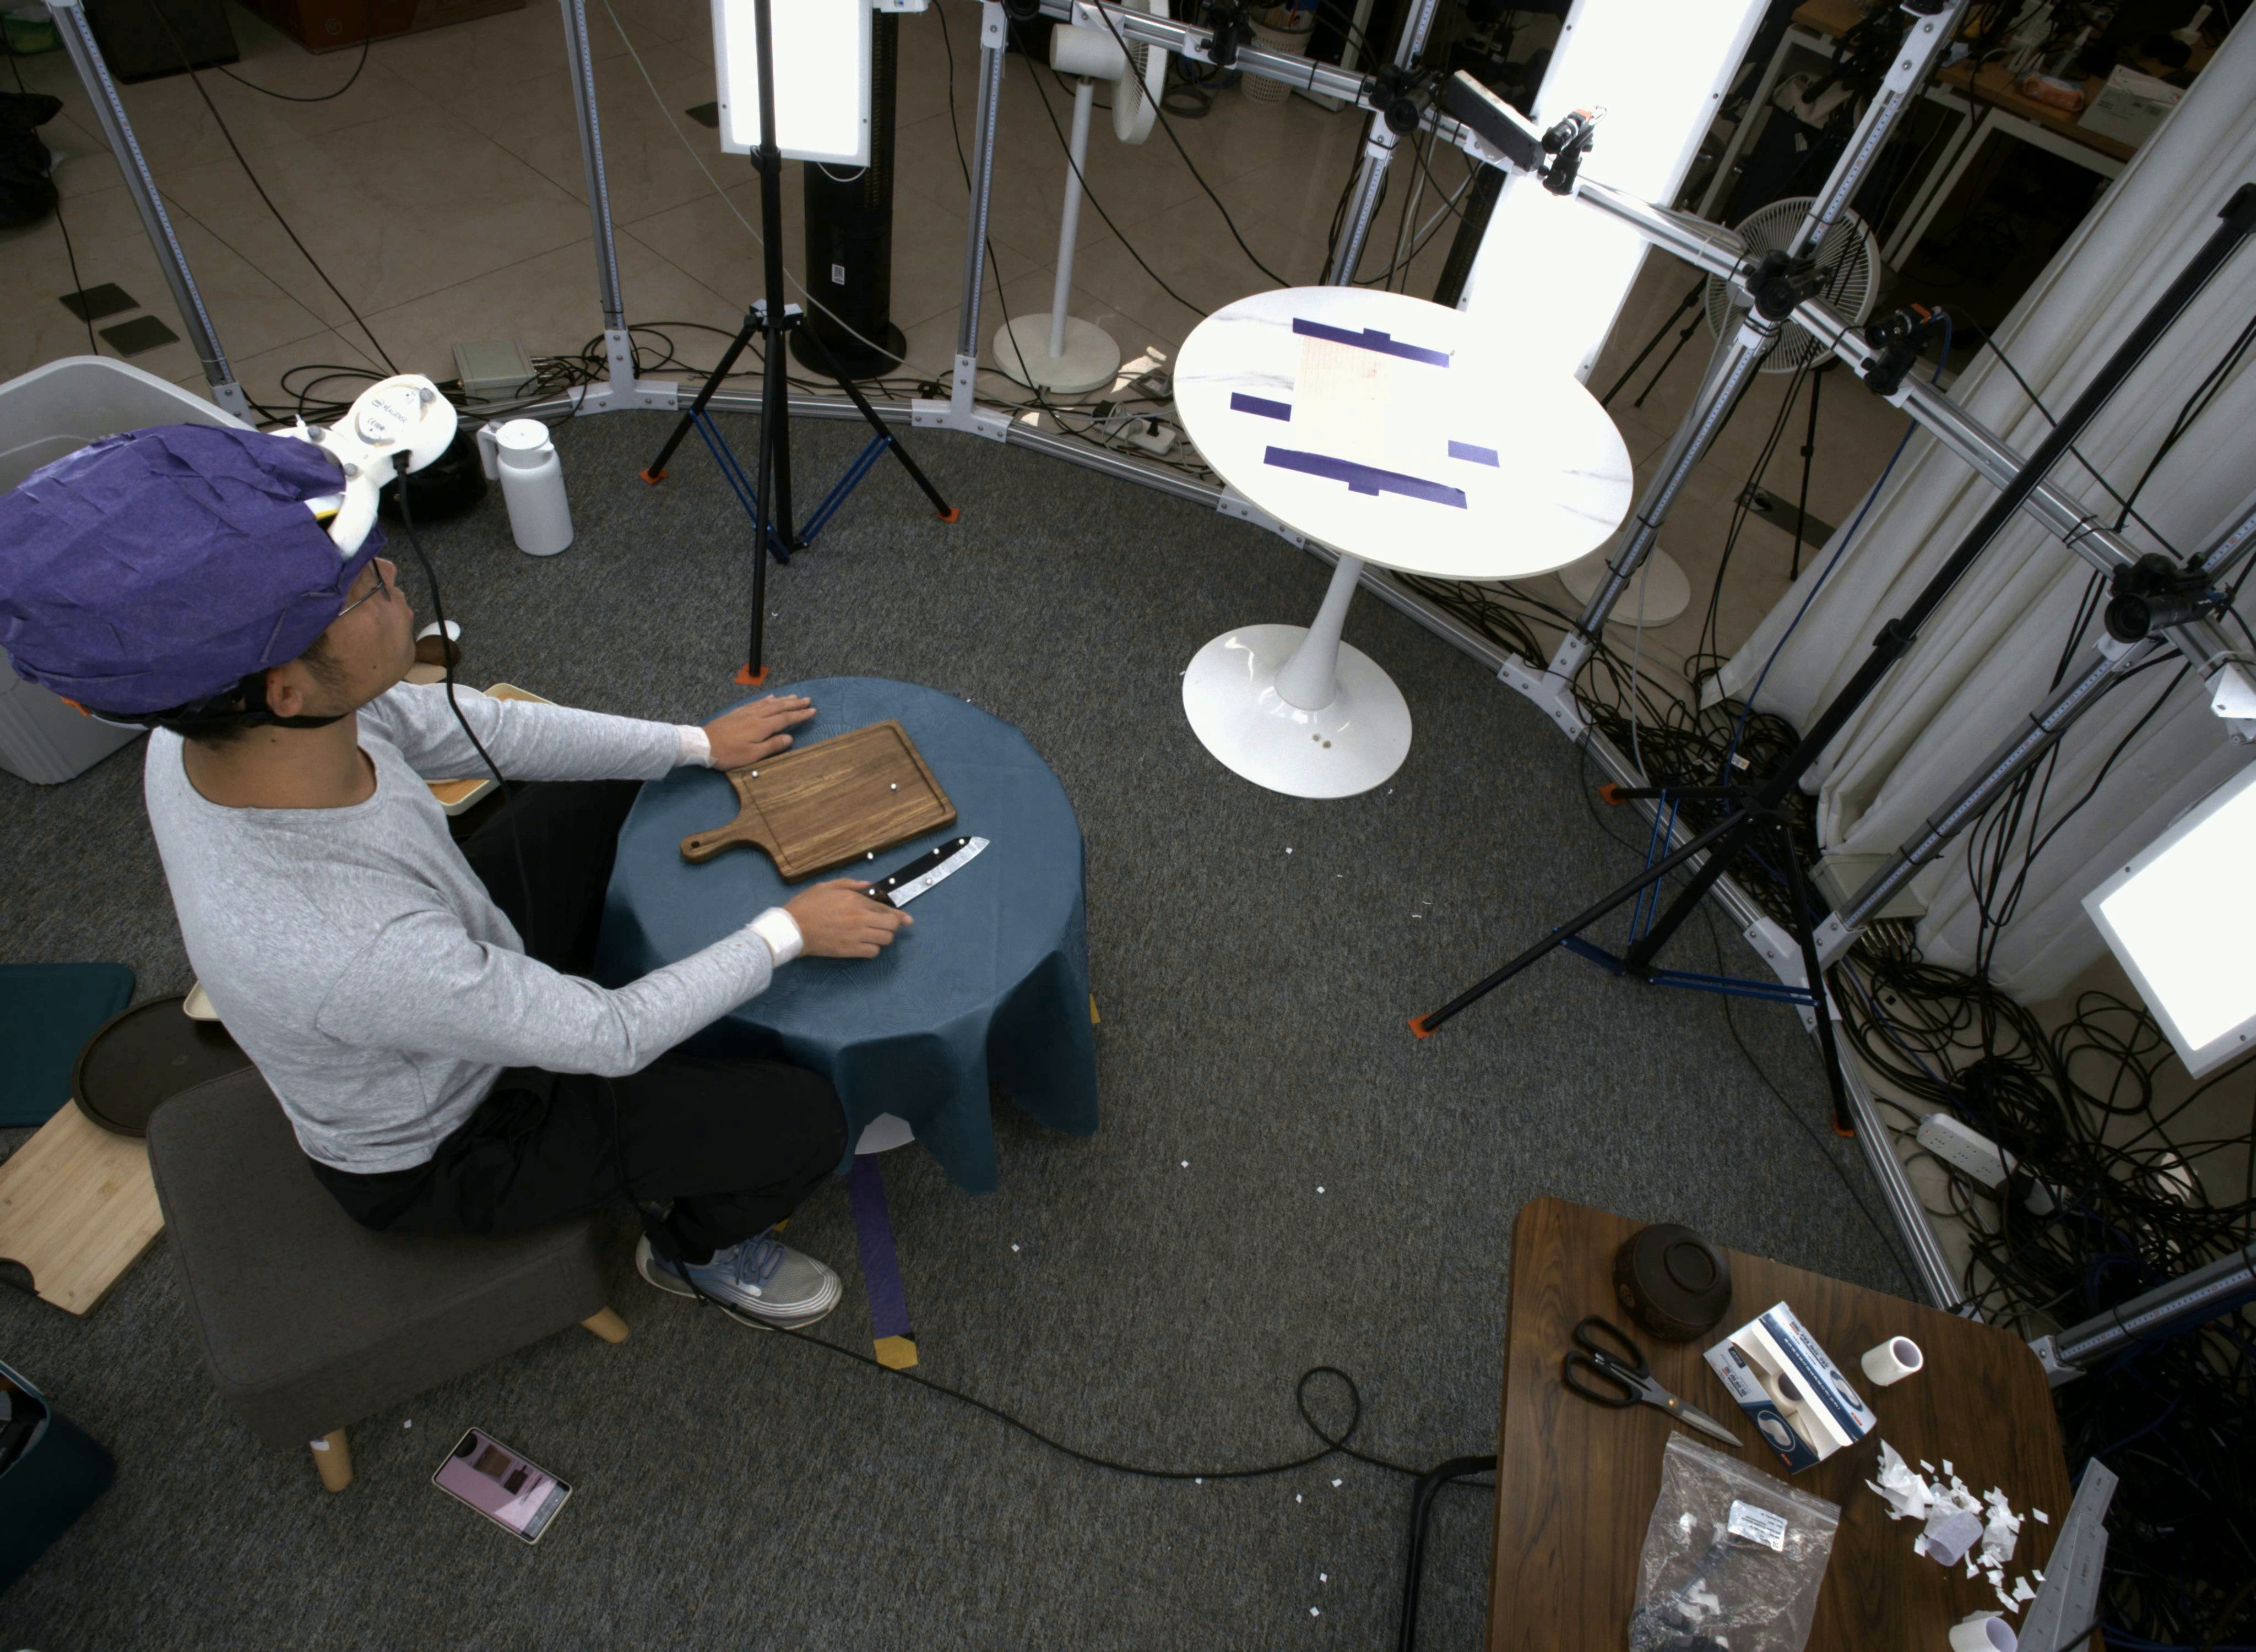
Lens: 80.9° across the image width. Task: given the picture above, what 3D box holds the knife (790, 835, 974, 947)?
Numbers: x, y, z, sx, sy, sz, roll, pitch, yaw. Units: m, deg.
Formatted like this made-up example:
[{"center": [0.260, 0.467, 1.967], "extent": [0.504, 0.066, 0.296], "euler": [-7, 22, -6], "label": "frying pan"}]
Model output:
[{"center": [-0.315, 0.078, 1.696], "extent": [0.290, 0.020, 0.049], "euler": [-32, 74, -34], "label": "knife"}]

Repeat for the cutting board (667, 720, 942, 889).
[{"center": [-0.446, -0.020, 1.731], "extent": [0.354, 0.023, 0.196], "euler": [-23, 62, -28], "label": "cutting board"}]
